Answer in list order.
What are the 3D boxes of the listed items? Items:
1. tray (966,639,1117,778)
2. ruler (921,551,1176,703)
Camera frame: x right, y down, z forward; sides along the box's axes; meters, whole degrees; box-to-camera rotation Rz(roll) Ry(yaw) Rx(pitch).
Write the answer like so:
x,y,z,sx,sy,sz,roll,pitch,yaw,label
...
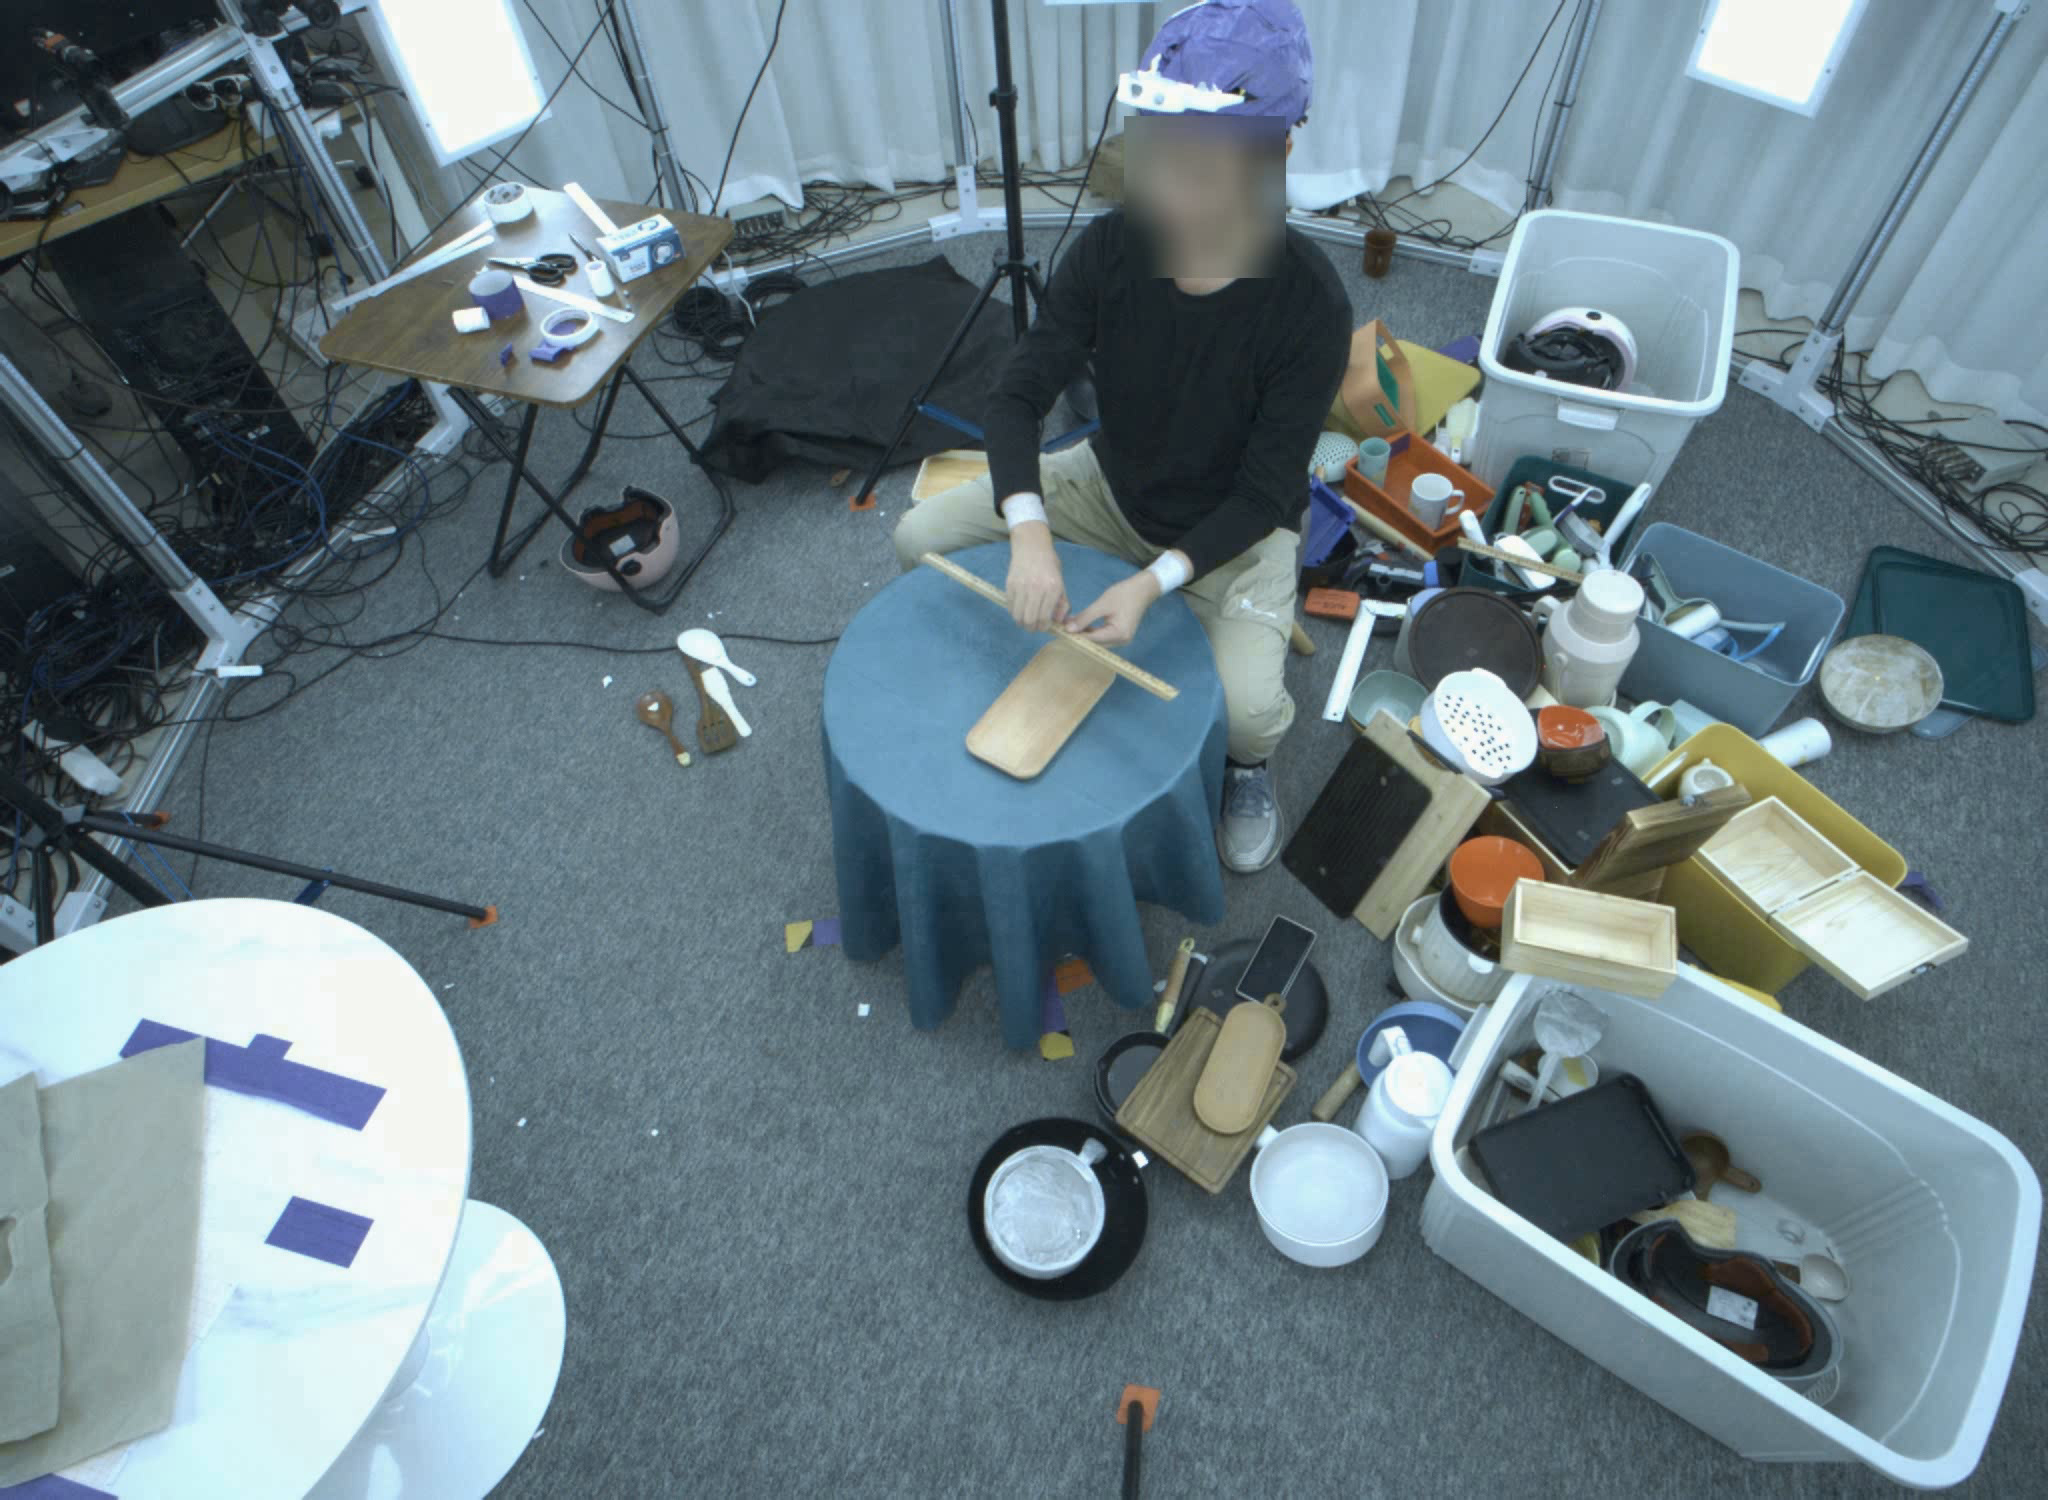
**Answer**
x,y,z,sx,sy,sz,roll,pitch,yaw,label
0.028,-0.063,1.822,0.129,0.023,0.252,30,60,19,tray
0.023,-0.189,1.797,0.490,0.006,0.027,34,48,29,ruler
